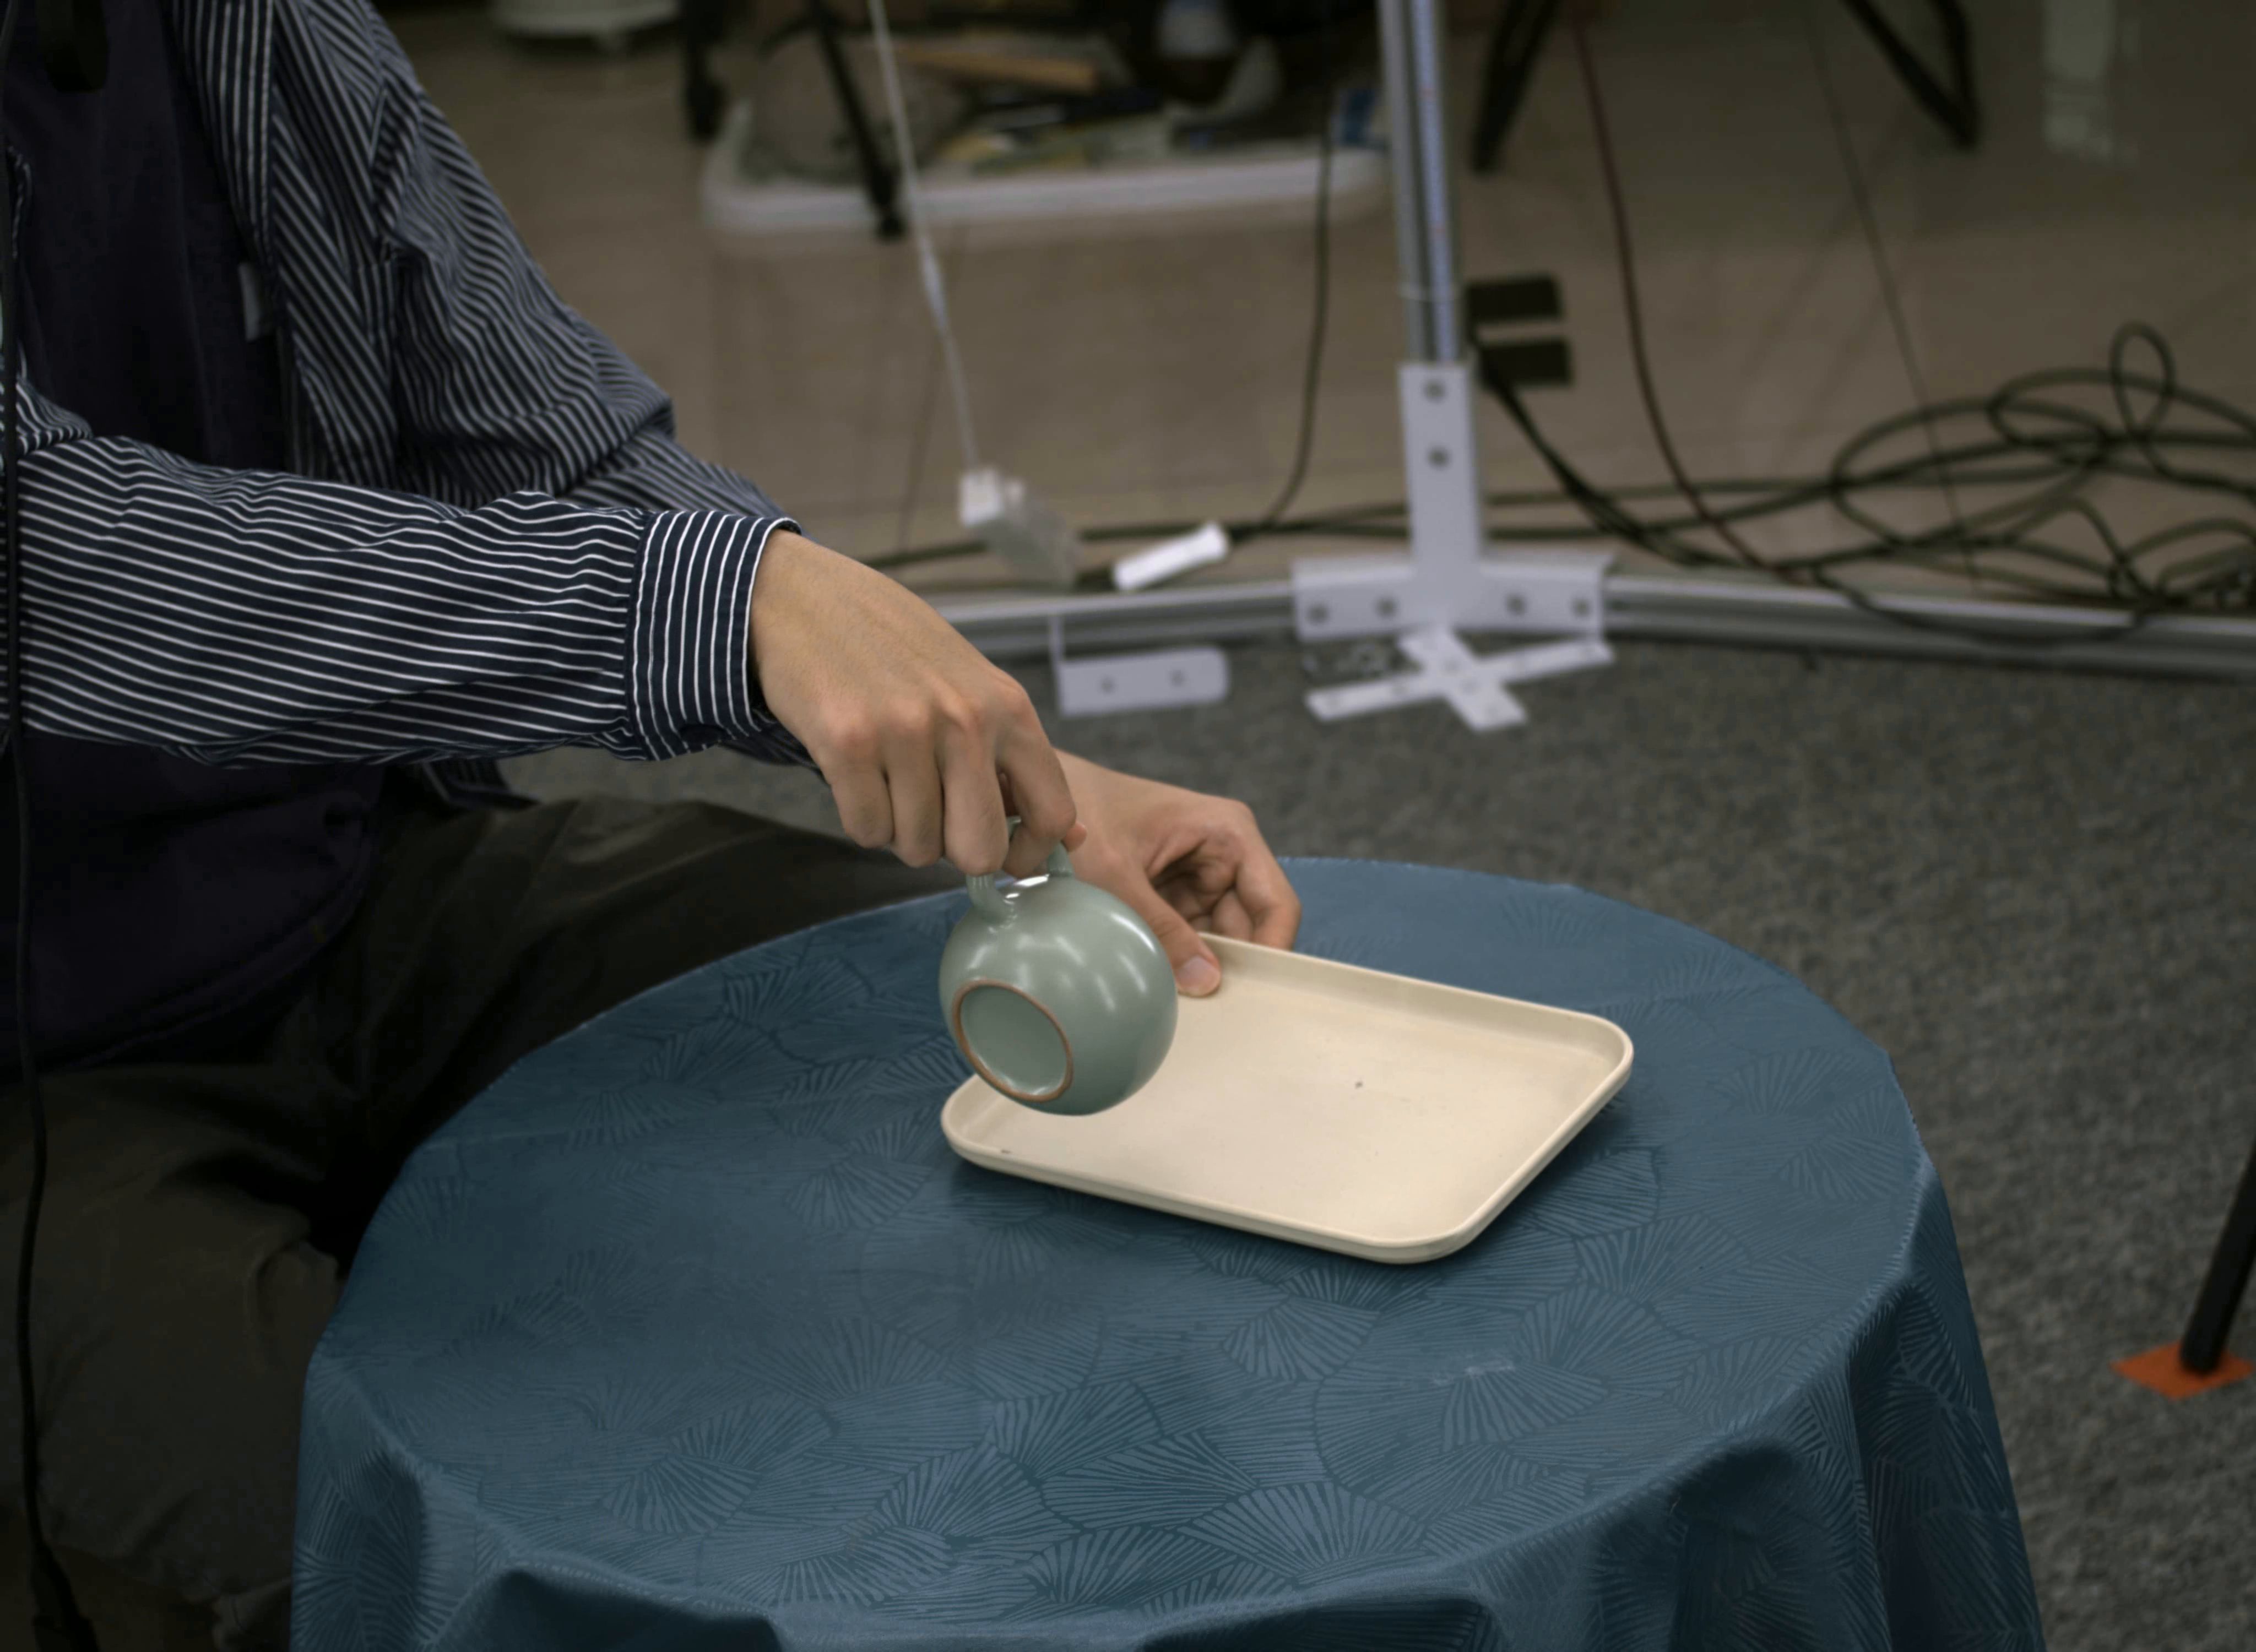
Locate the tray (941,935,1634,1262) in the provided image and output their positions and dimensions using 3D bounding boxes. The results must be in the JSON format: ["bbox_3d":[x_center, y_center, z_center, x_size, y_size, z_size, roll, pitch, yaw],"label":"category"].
[{"bbox_3d":[0.061,0.104,2.176,0.238,0.018,0.169,11,34,32],"label":"tray"}]

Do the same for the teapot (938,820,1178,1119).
[{"bbox_3d":[-0.030,0.056,2.071,0.091,0.130,0.060,1,34,42],"label":"teapot"}]
